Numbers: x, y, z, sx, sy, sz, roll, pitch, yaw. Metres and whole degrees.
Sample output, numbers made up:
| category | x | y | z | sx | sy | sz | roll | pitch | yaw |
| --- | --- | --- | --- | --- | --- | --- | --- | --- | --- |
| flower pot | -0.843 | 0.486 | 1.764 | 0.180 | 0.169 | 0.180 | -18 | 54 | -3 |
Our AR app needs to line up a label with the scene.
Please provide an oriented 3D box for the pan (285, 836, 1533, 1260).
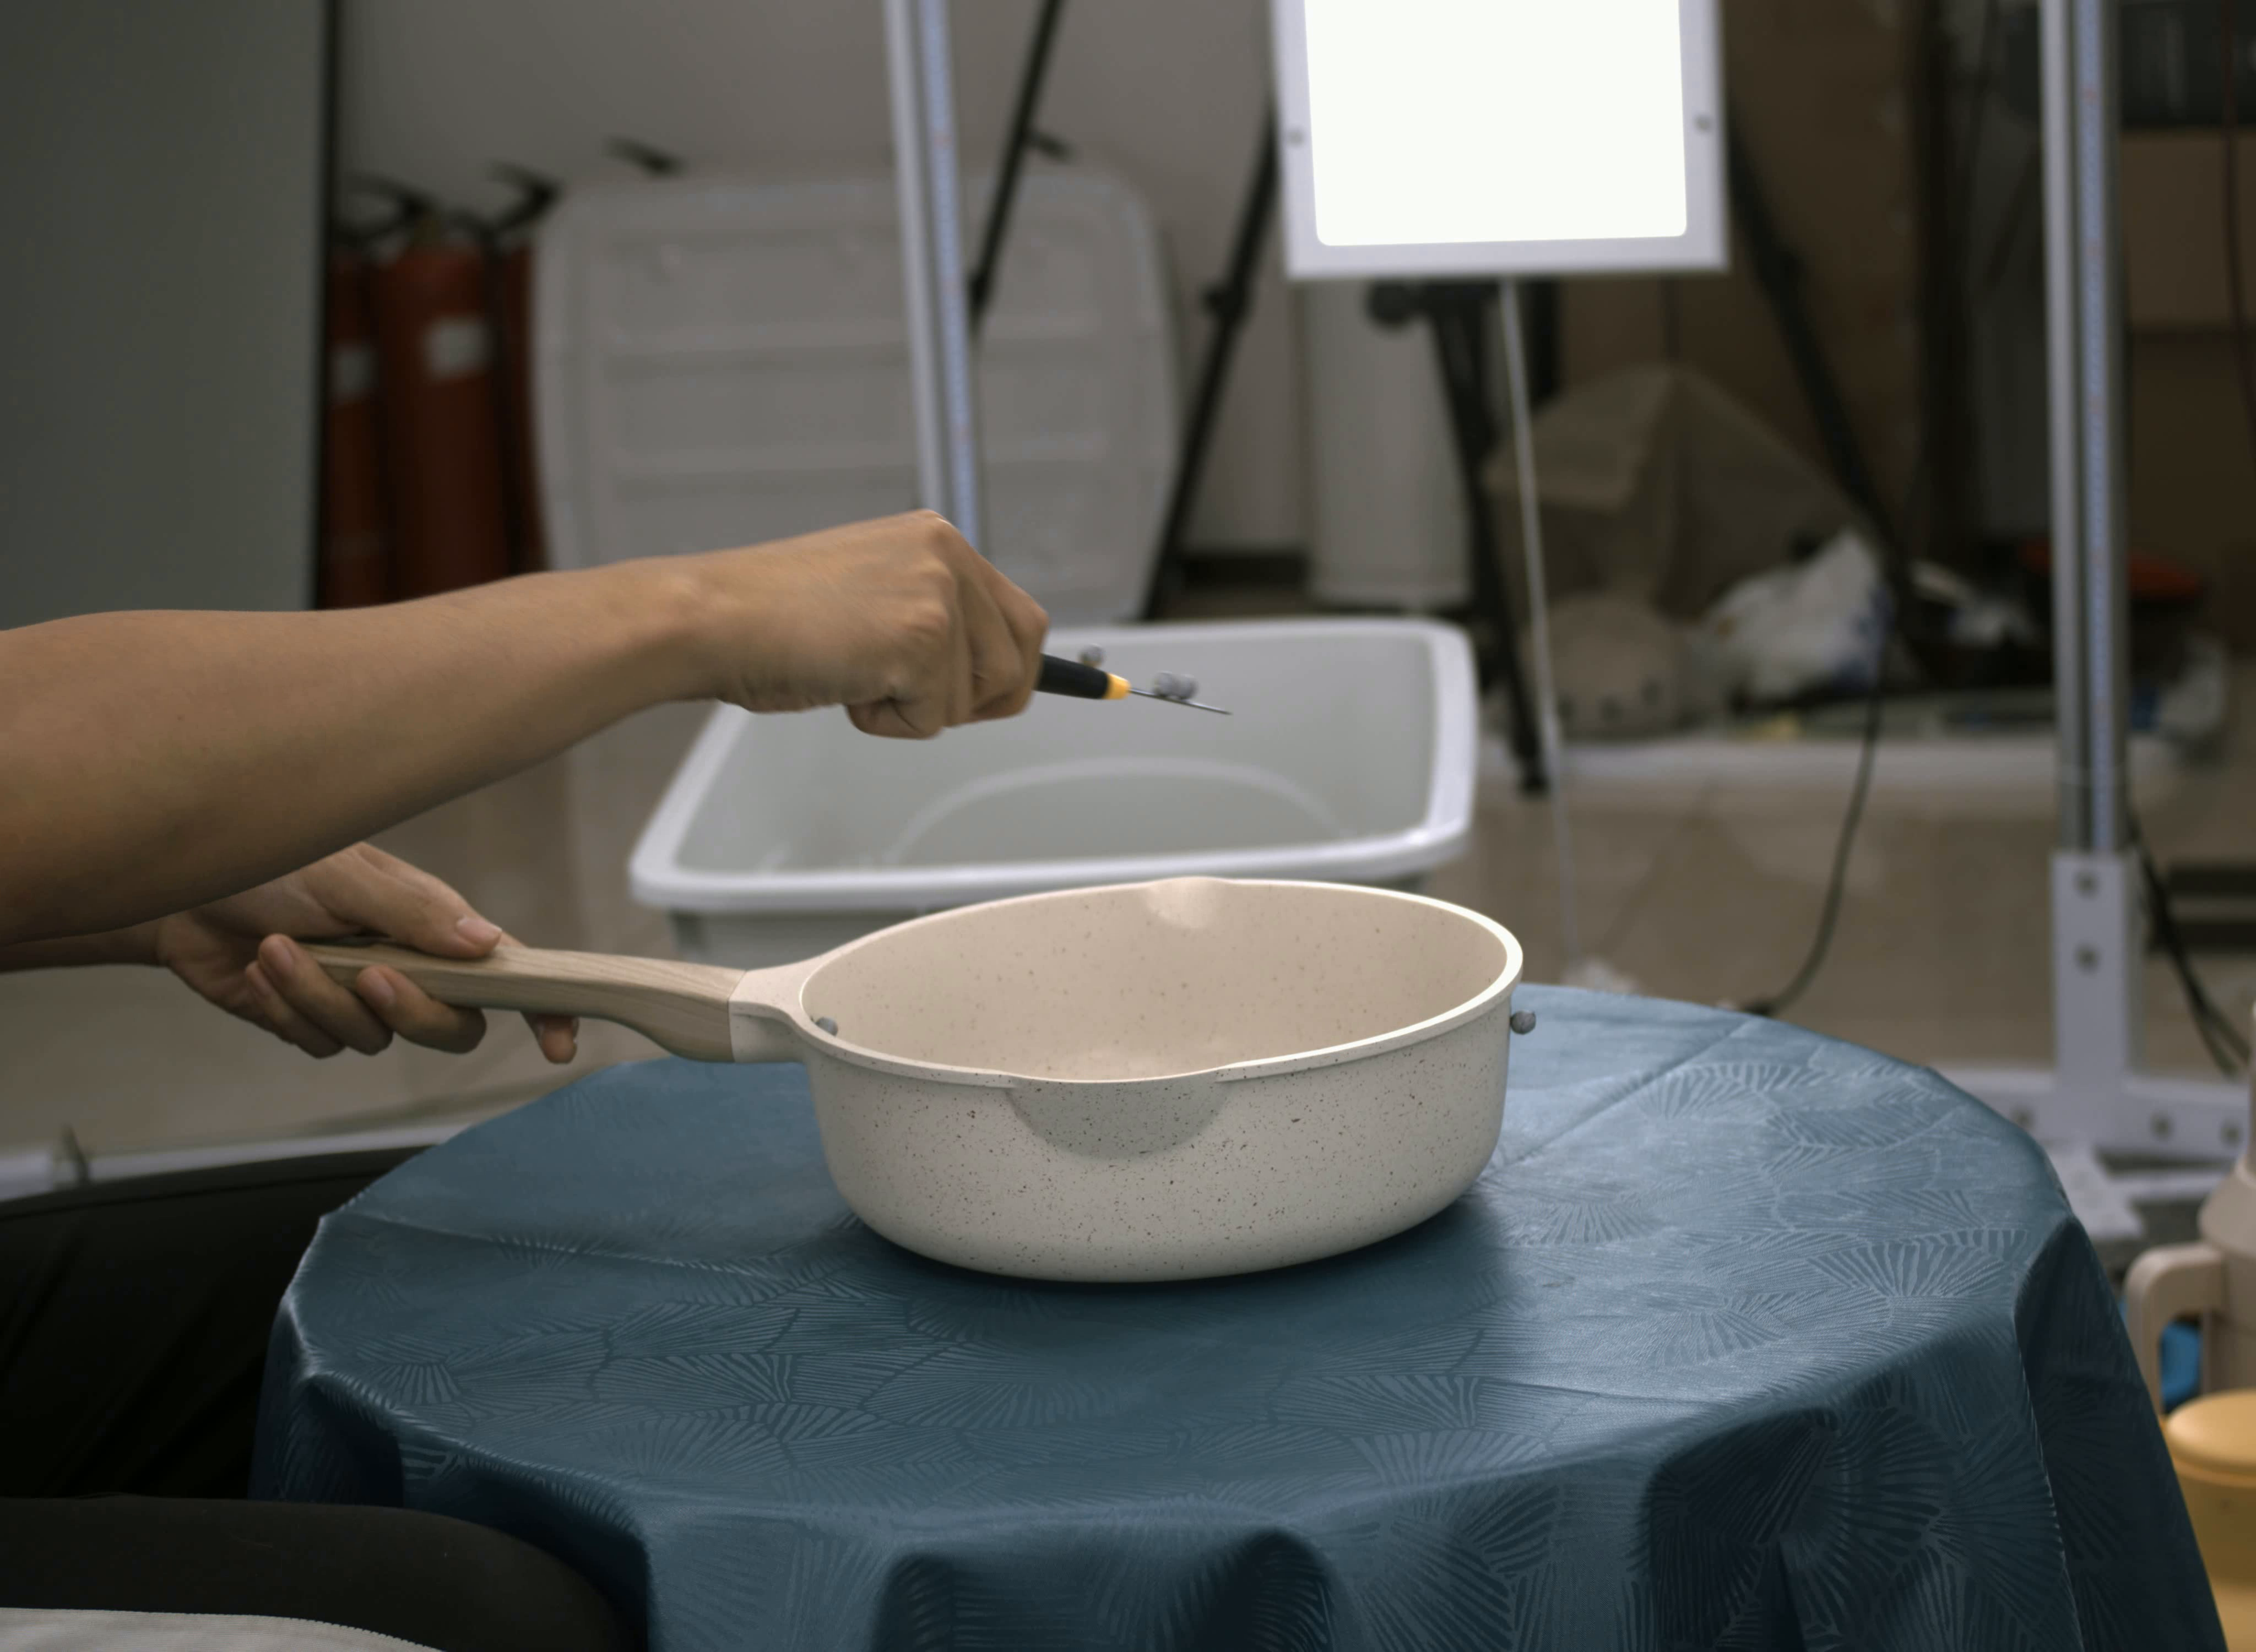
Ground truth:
| category | x | y | z | sx | sy | sz | roll | pitch | yaw |
| --- | --- | --- | --- | --- | --- | --- | --- | --- | --- |
| pan | -0.074 | 0.076 | 1.910 | 0.437 | 0.102 | 0.261 | -3 | 16 | 9 |

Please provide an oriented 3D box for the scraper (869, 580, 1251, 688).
| category | x | y | z | sx | sy | sz | roll | pitch | yaw |
| --- | --- | --- | --- | --- | --- | --- | --- | --- | --- |
| scraper | -0.023 | -0.062 | 1.836 | 0.039 | 0.015 | 0.167 | 25 | 10 | 41 |
